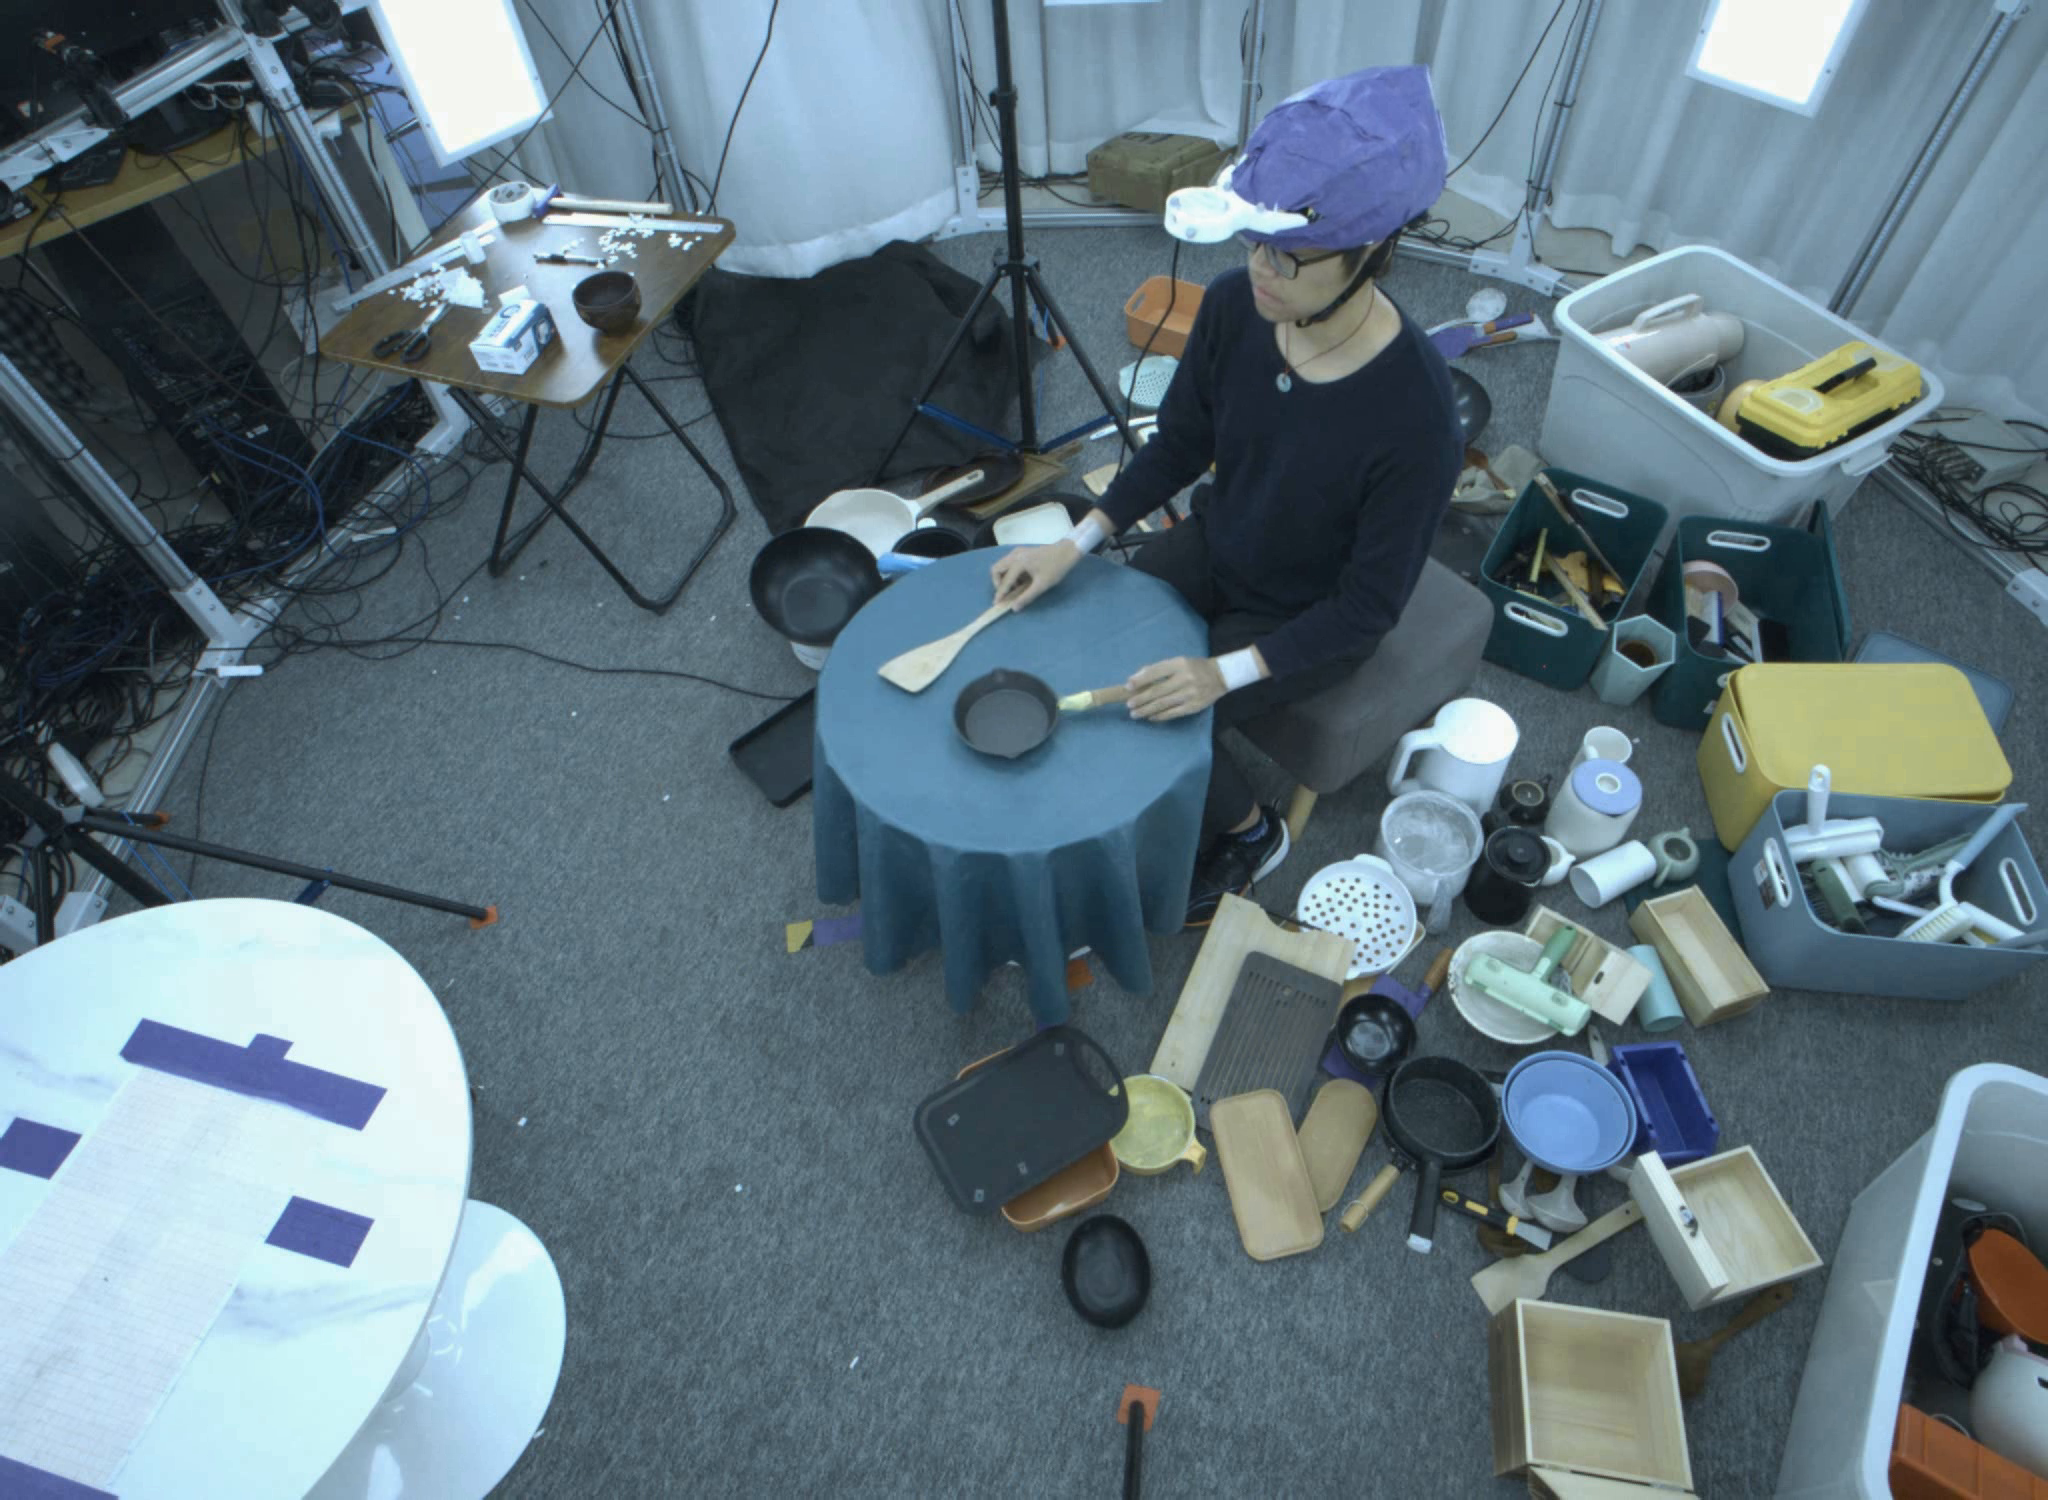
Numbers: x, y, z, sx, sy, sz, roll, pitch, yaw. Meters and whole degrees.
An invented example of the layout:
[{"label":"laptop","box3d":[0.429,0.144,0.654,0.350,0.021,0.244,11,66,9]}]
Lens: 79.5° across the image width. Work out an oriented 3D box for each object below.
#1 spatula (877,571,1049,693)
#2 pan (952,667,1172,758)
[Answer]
[{"label":"spatula","box3d":[-0.082,-0.190,1.914,0.330,0.017,0.078,-39,62,-22]},{"label":"pan","box3d":[0.057,-0.064,1.799,0.324,0.050,0.166,-8,55,-1]}]
